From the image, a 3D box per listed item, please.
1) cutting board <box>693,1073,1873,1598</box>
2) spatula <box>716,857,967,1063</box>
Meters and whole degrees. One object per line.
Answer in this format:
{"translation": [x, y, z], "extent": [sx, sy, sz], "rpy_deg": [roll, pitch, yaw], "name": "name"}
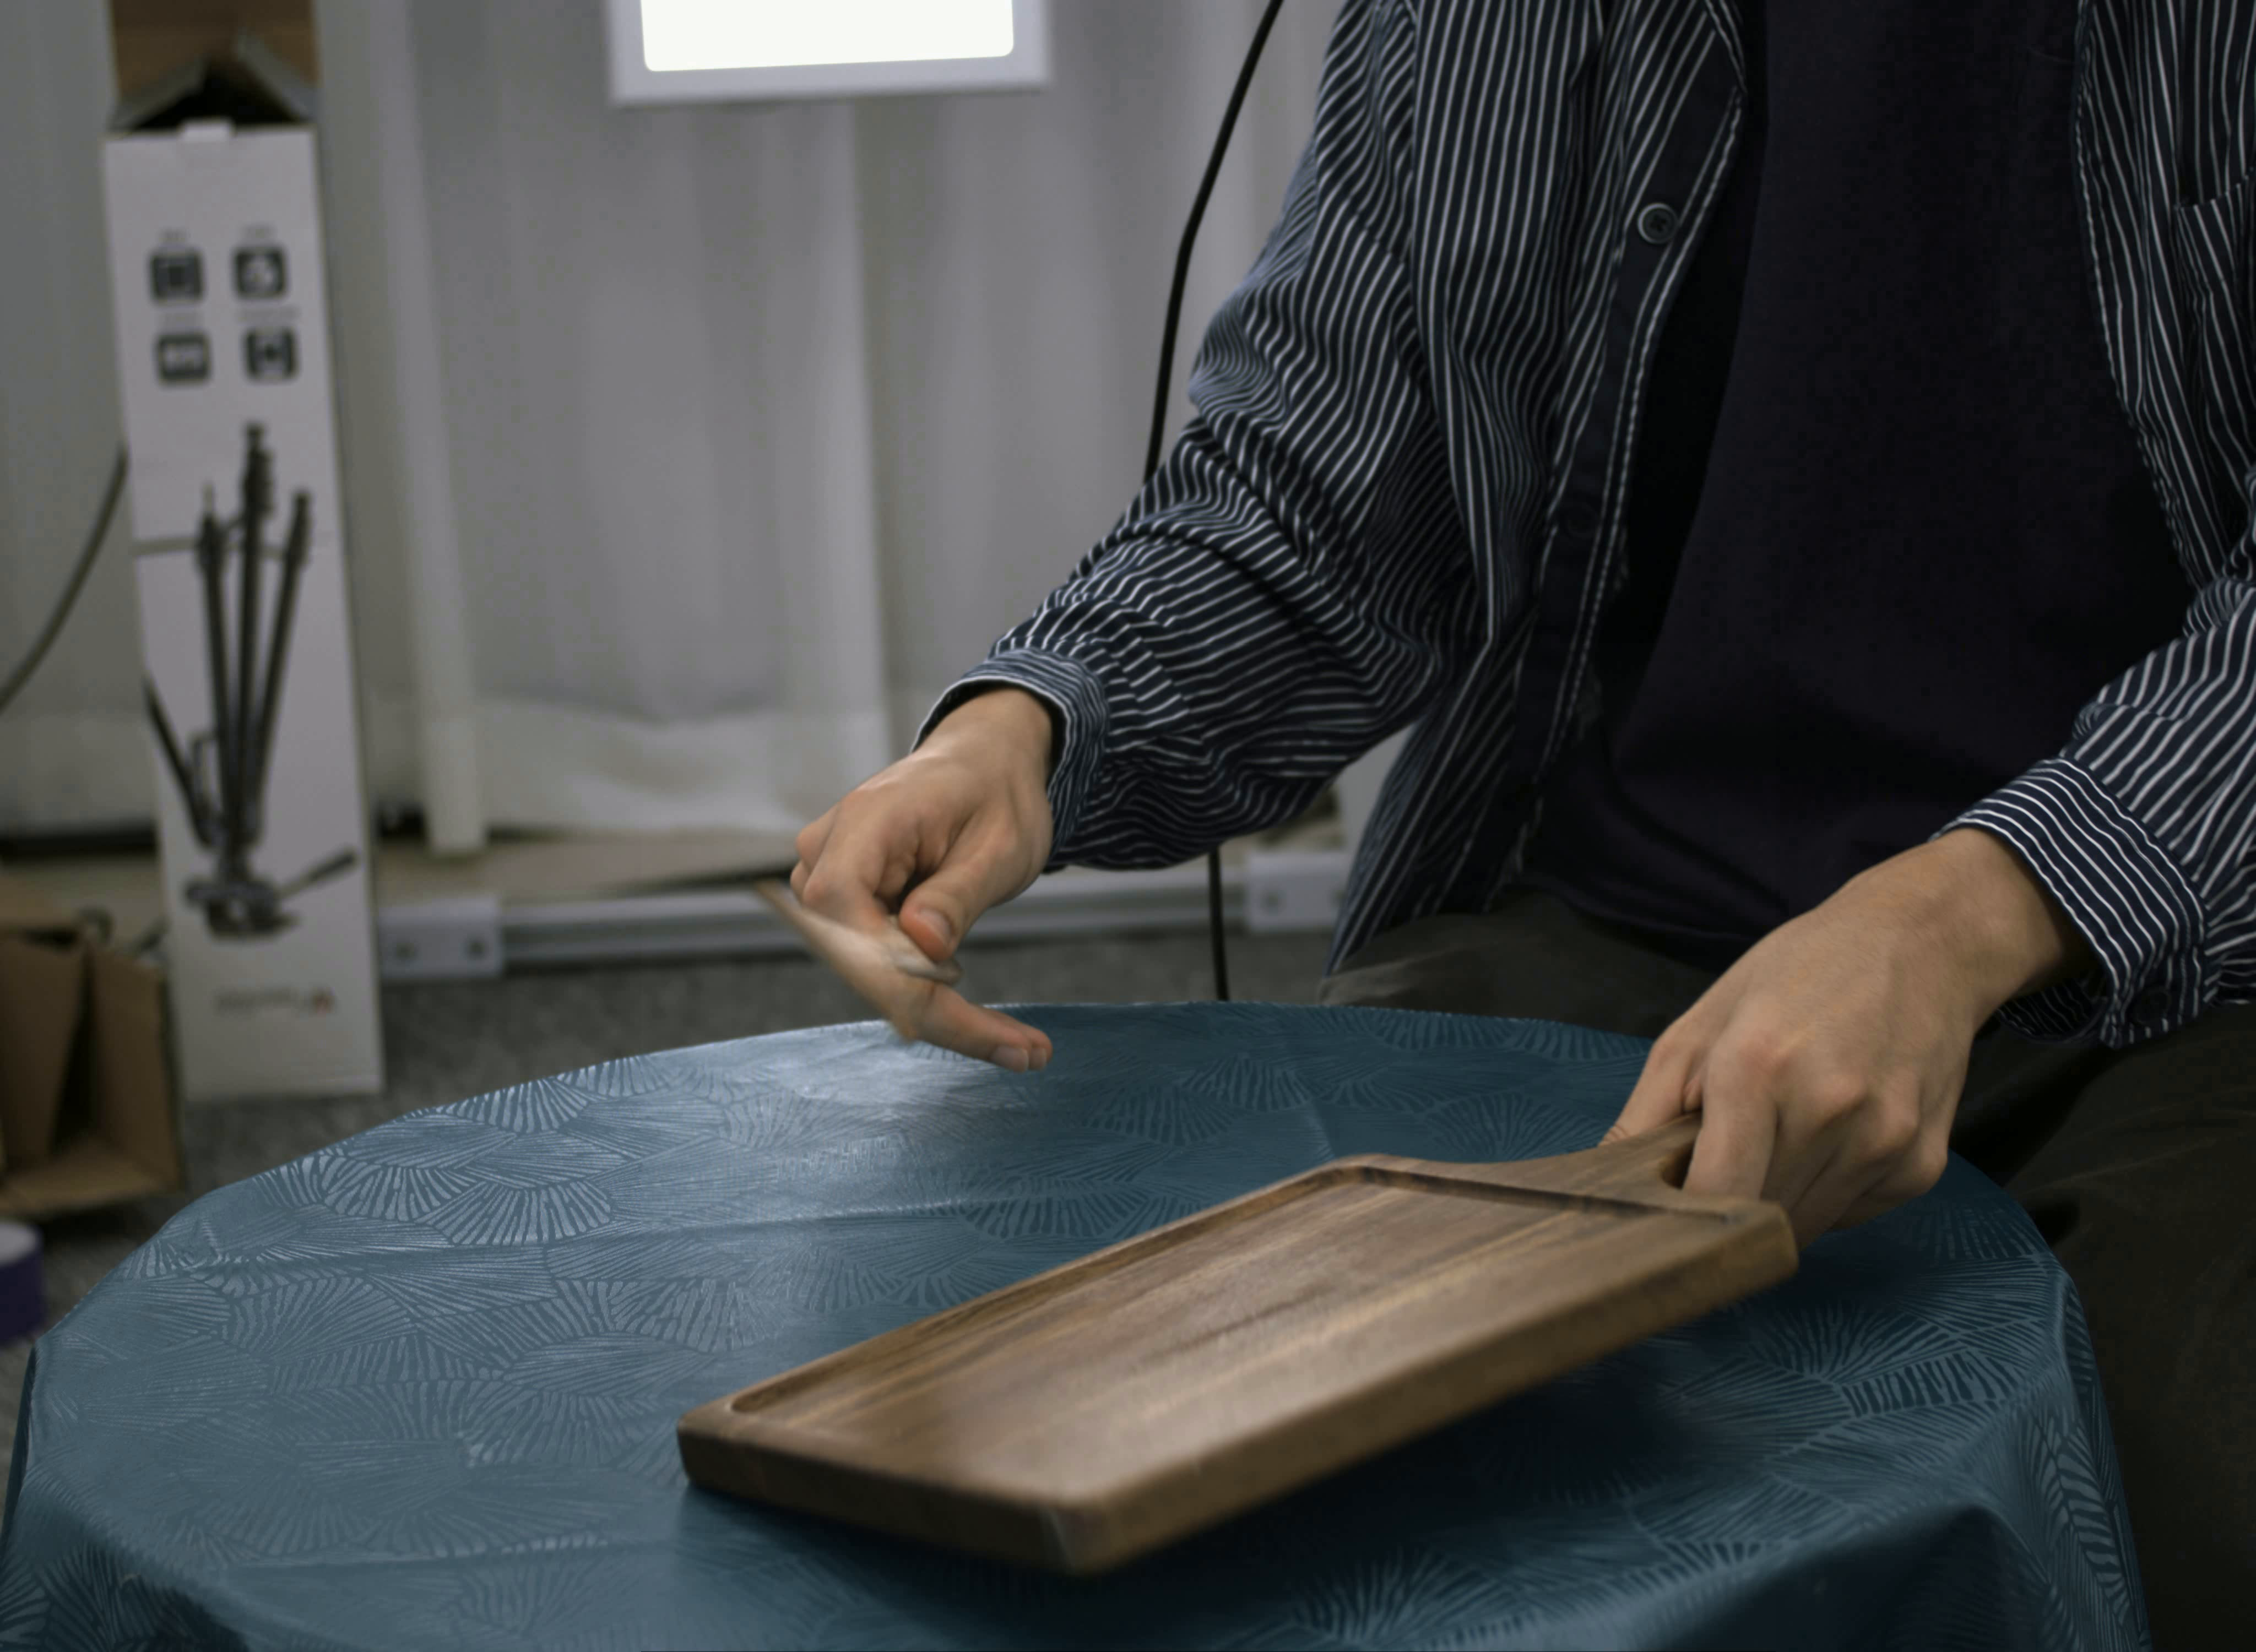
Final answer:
{"translation": [0.074, 0.129, 1.500], "extent": [0.351, 0.023, 0.202], "rpy_deg": [-19, 13, -33], "name": "cutting board"}
{"translation": [-0.075, 0.040, 1.670], "extent": [0.016, 0.080, 0.327], "rpy_deg": [-46, -4, 4], "name": "spatula"}
